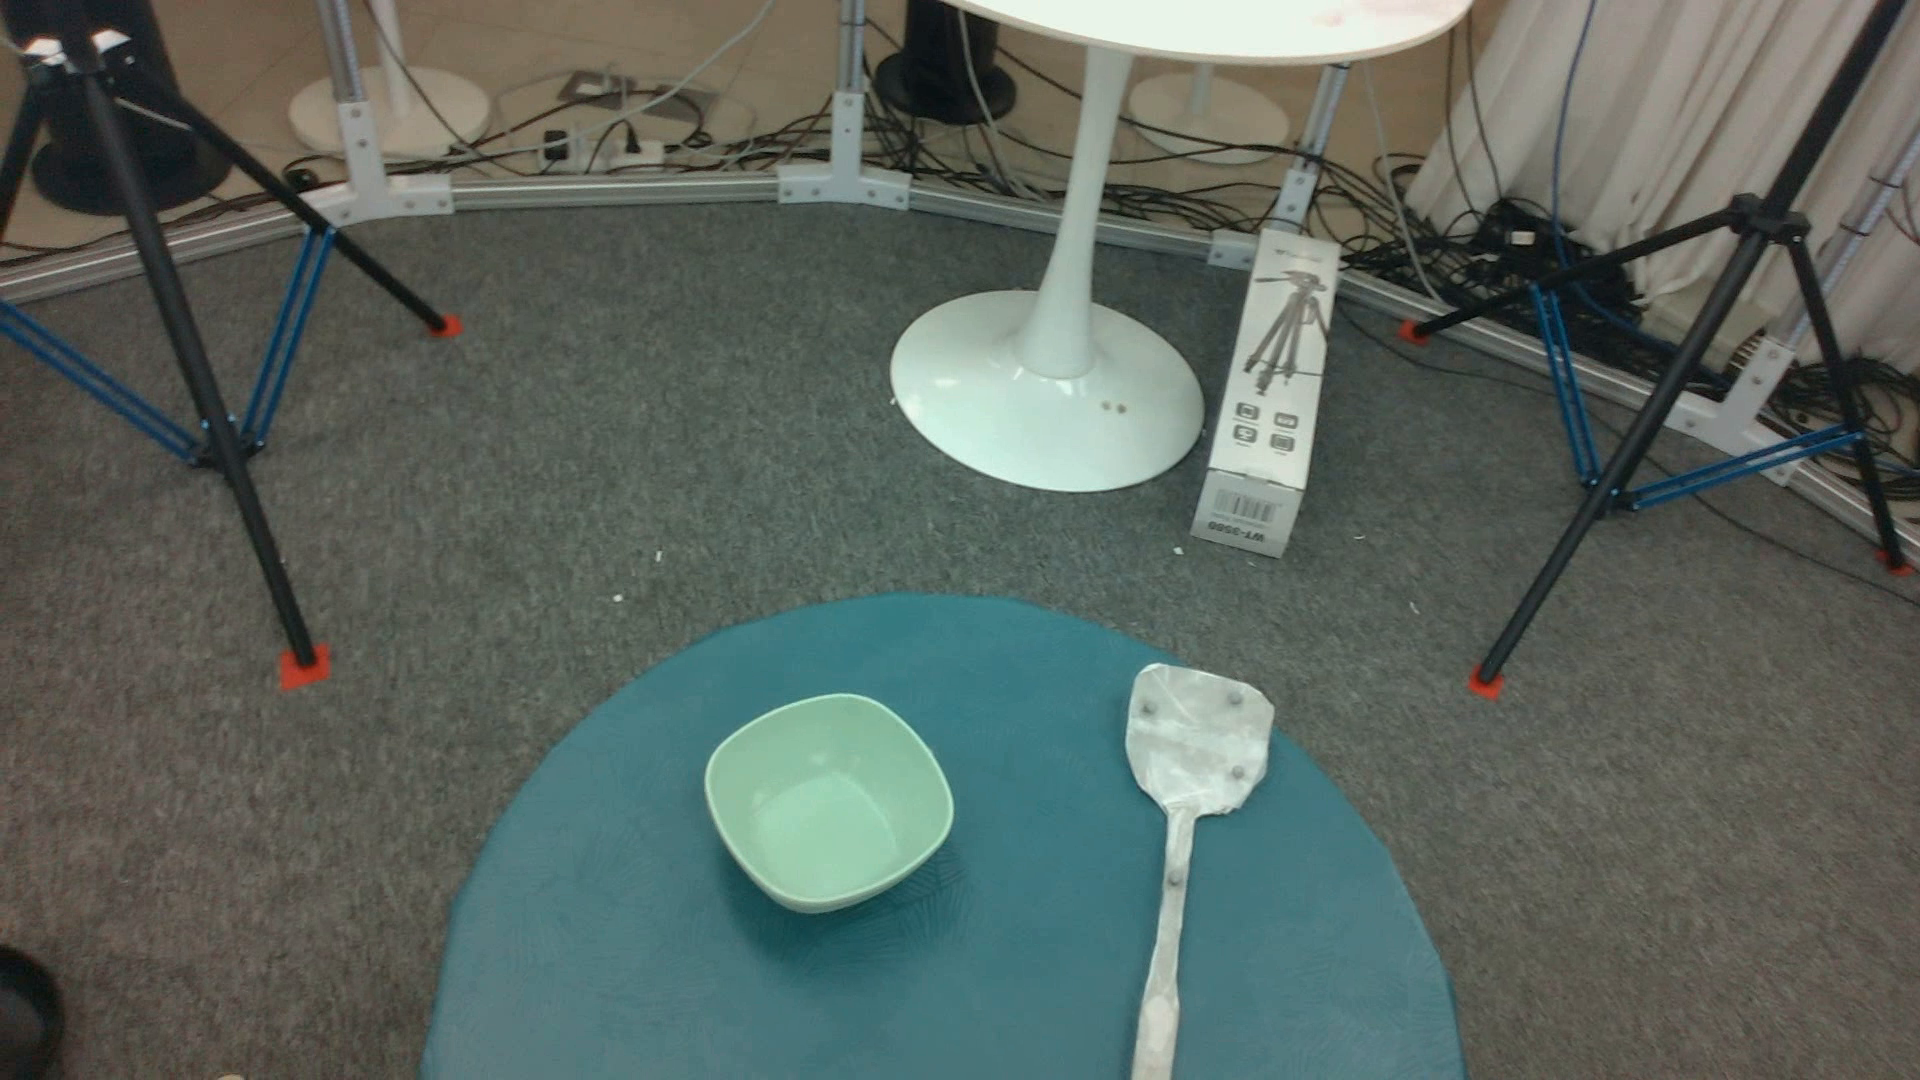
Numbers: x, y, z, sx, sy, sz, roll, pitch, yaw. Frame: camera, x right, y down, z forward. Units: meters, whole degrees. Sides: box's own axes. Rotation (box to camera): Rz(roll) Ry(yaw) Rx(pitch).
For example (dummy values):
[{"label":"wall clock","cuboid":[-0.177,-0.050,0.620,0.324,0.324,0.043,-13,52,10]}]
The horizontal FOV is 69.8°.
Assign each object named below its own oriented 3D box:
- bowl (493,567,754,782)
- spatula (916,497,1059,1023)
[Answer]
[{"label":"bowl","cuboid":[-0.203,0.090,0.836,0.151,0.058,0.152,7,46,-7]},{"label":"spatula","cuboid":[0.006,0.122,0.873,0.099,0.044,0.366,12,48,-6]}]
